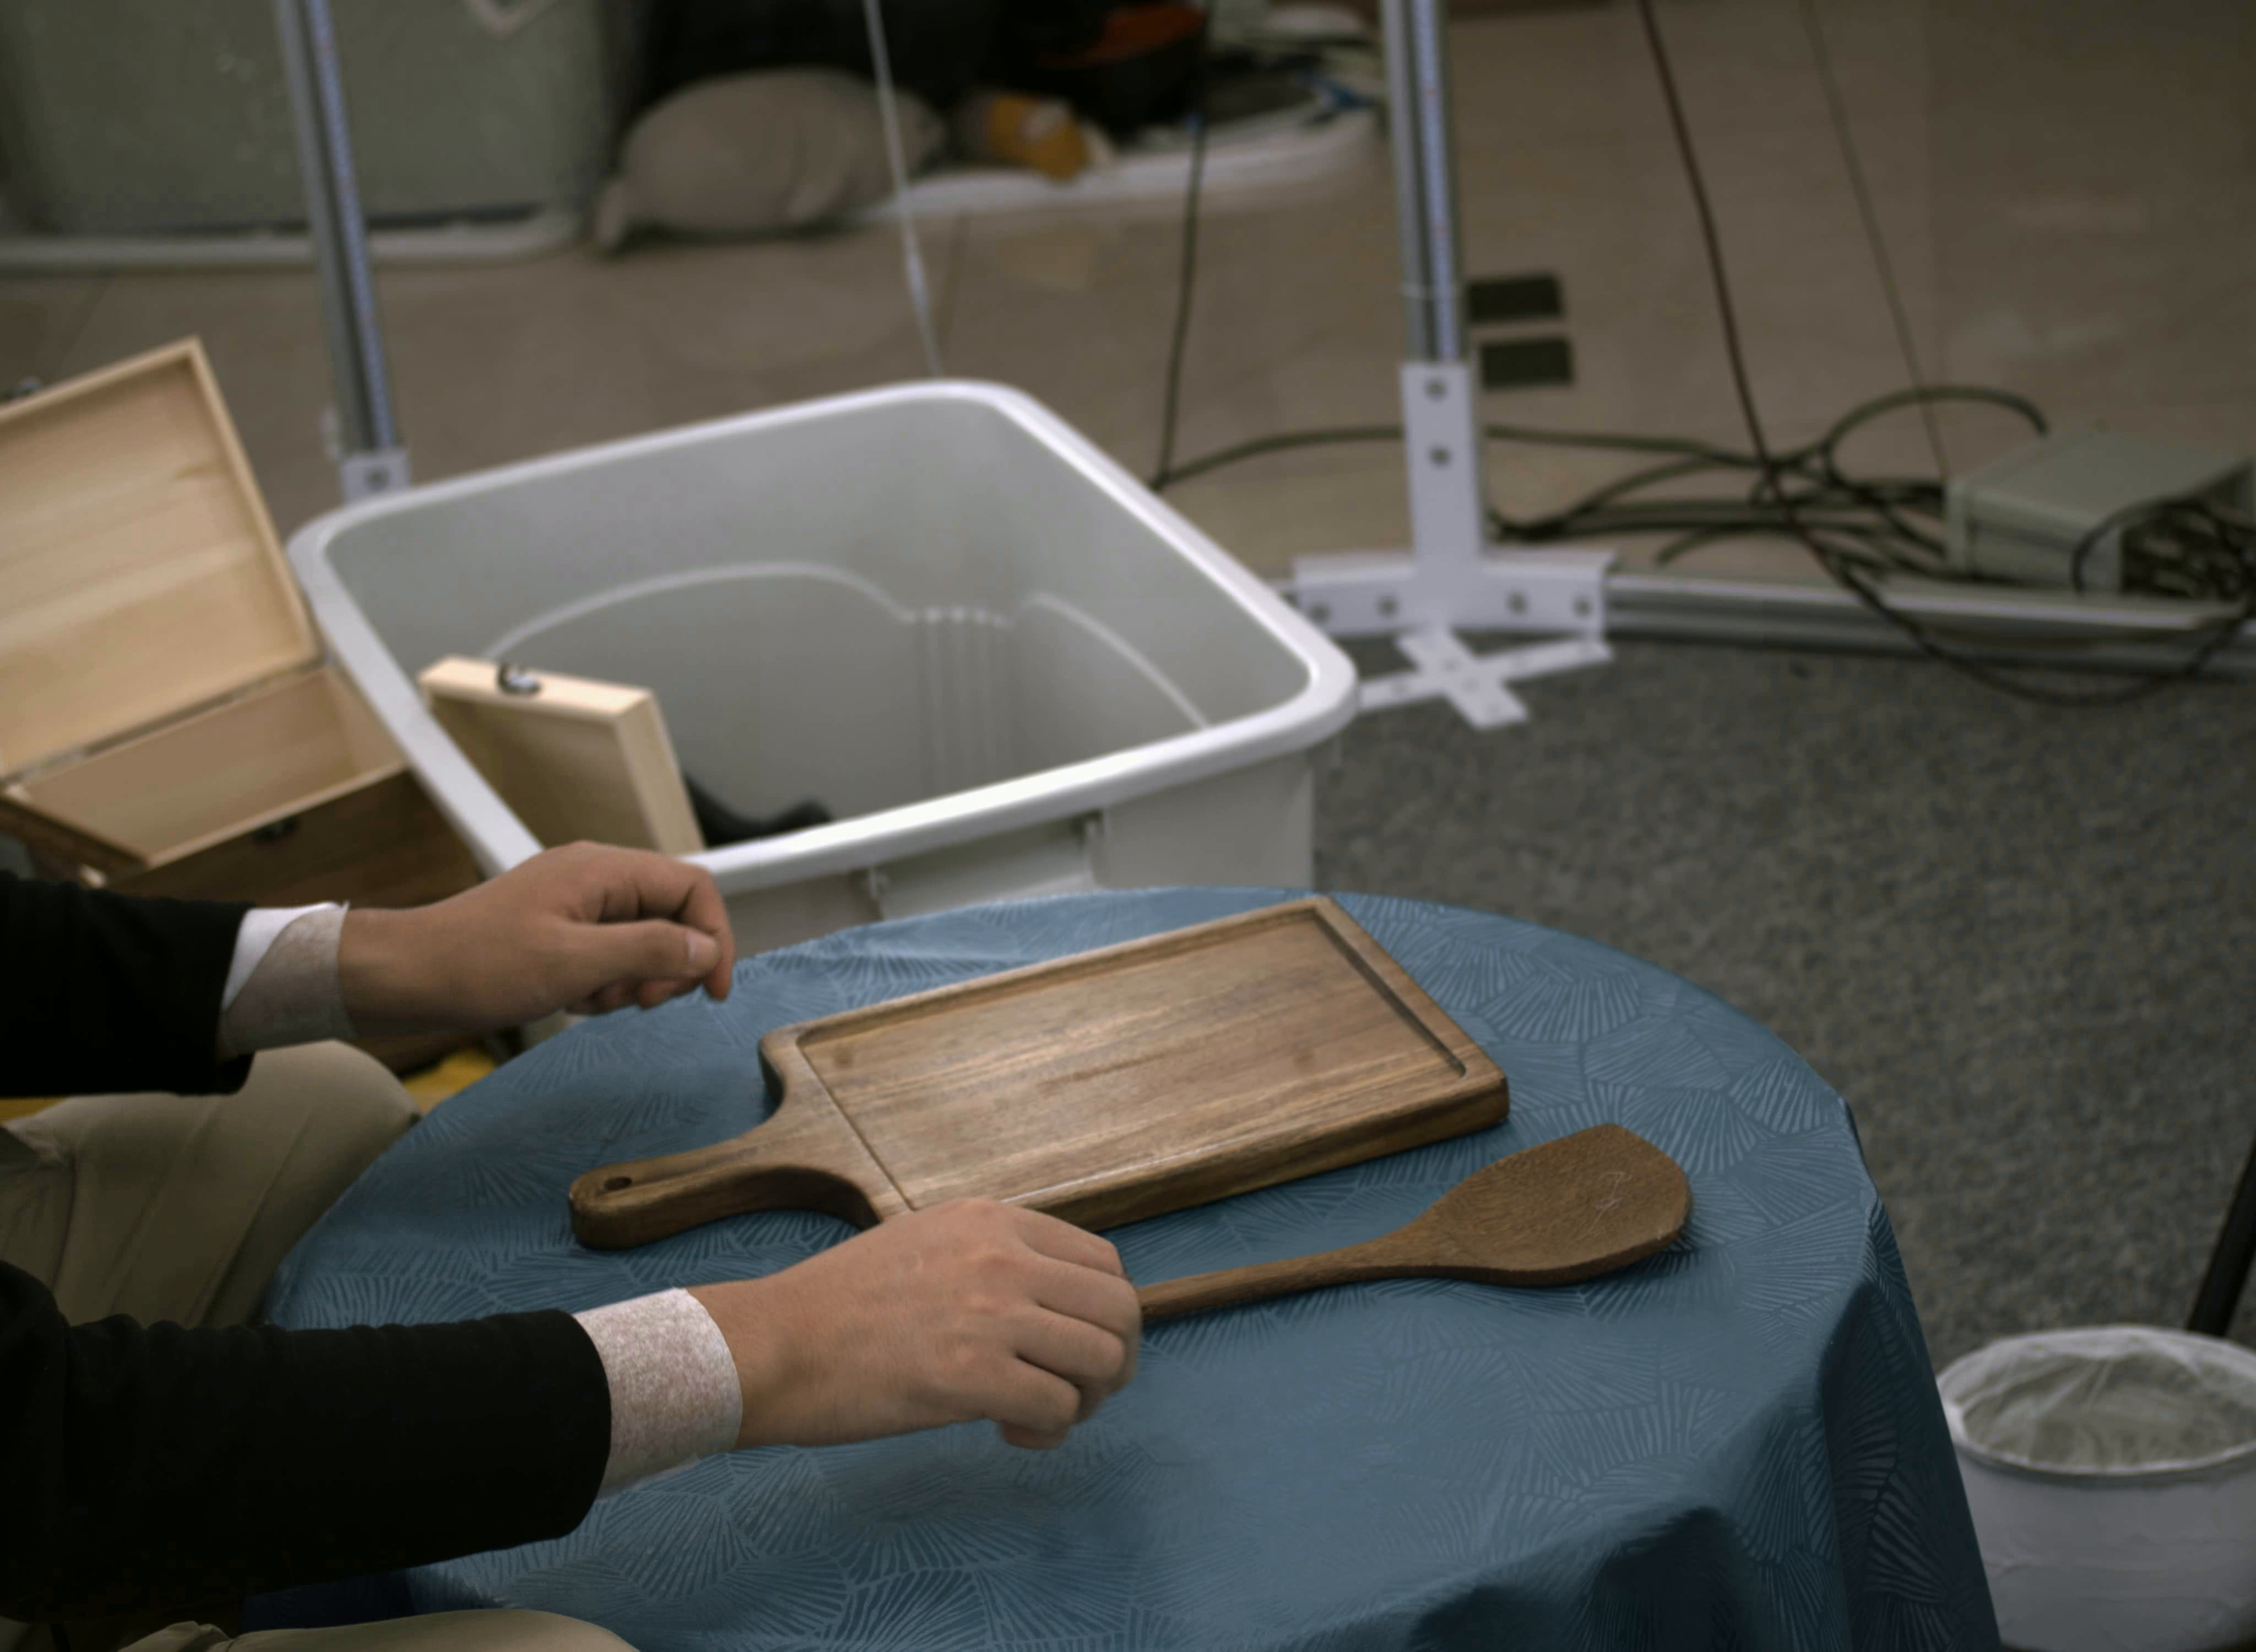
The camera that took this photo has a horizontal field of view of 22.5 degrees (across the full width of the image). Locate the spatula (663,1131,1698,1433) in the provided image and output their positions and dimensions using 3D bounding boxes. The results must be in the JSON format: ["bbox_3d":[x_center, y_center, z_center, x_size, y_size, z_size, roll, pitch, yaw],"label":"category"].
[{"bbox_3d":[0.019,0.170,2.058,0.385,0.016,0.095,-12,25,-11],"label":"spatula"}]

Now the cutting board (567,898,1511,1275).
[{"bbox_3d":[-0.048,0.109,2.200,0.351,0.023,0.198,-14,25,-15],"label":"cutting board"}]
